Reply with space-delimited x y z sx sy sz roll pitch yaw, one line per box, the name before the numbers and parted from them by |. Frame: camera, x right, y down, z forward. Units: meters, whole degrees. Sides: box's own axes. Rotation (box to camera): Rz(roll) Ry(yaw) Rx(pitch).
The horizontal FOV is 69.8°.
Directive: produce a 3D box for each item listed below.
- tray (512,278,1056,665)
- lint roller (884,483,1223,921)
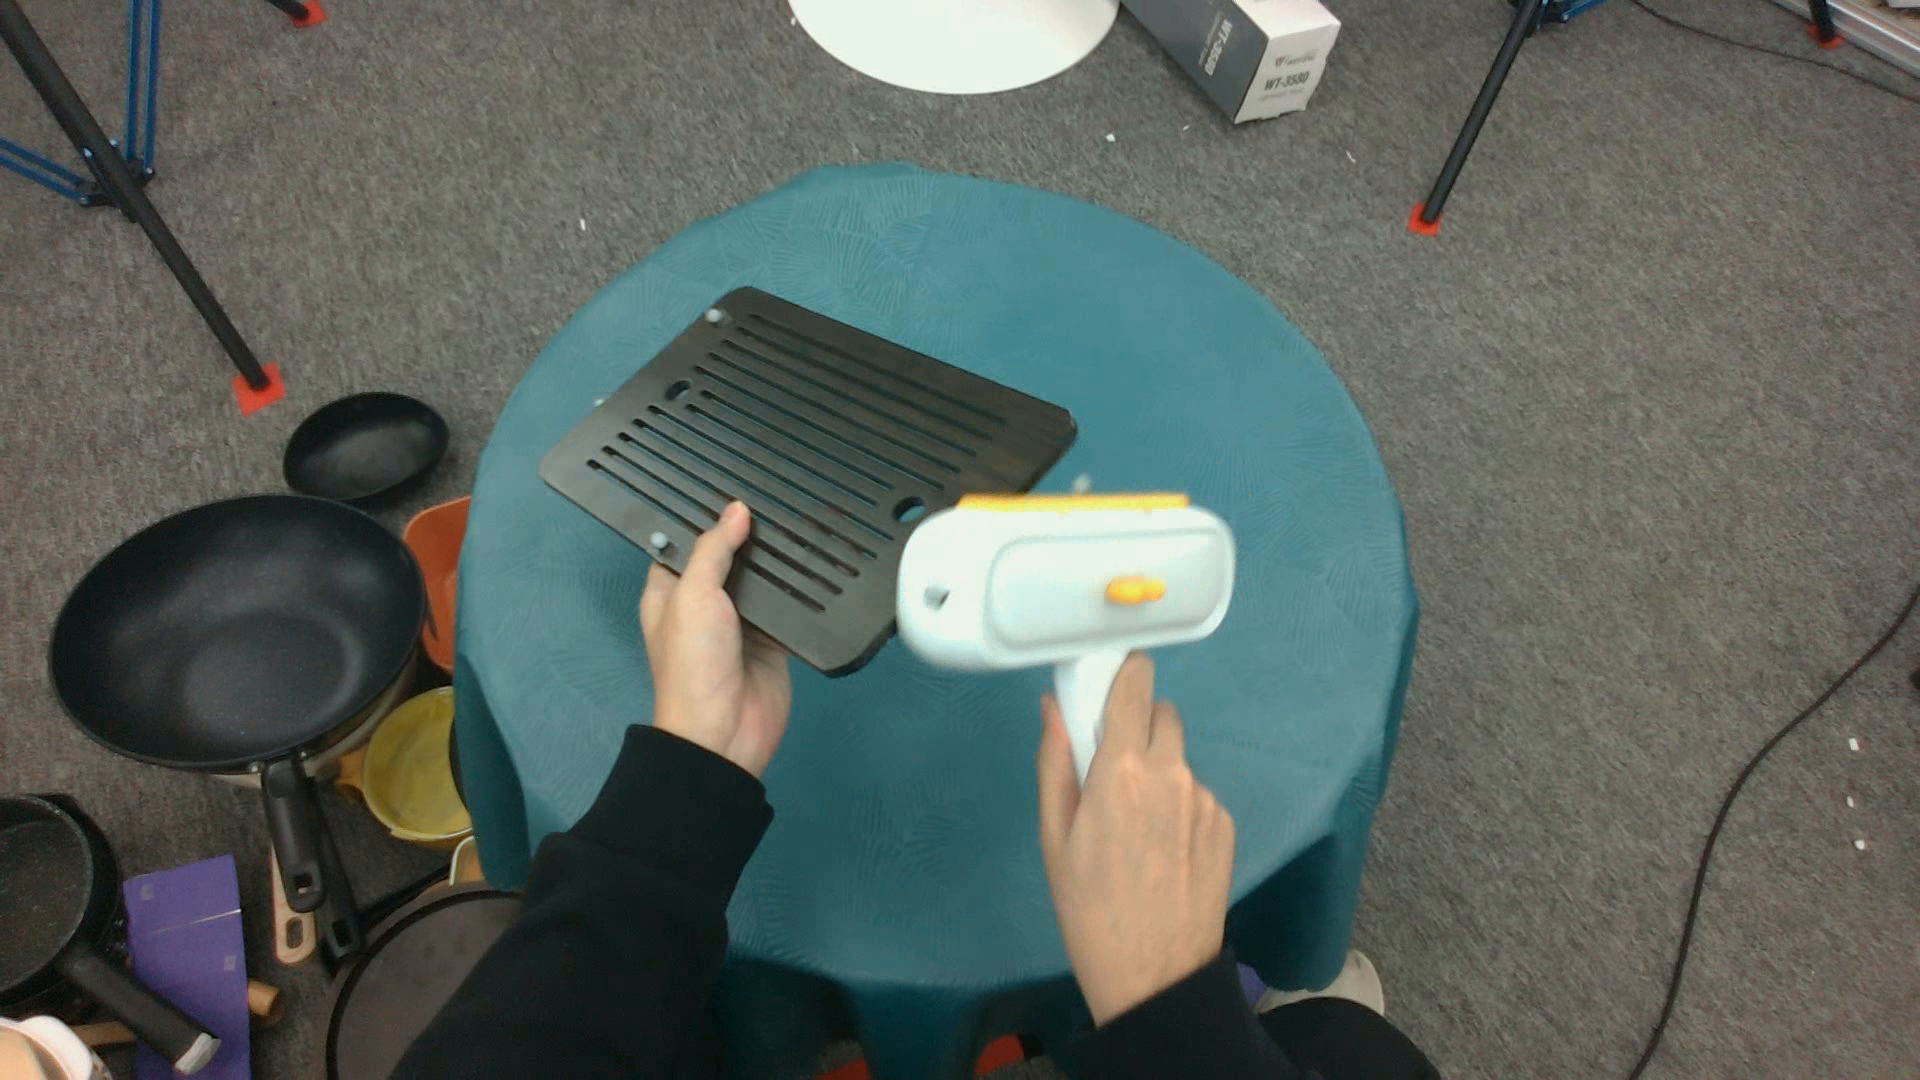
tray | -0.104 -0.049 0.718 0.306 0.018 0.170 25 67 42
lint roller | 0.060 0.074 0.621 0.193 0.074 0.192 -8 92 -47
